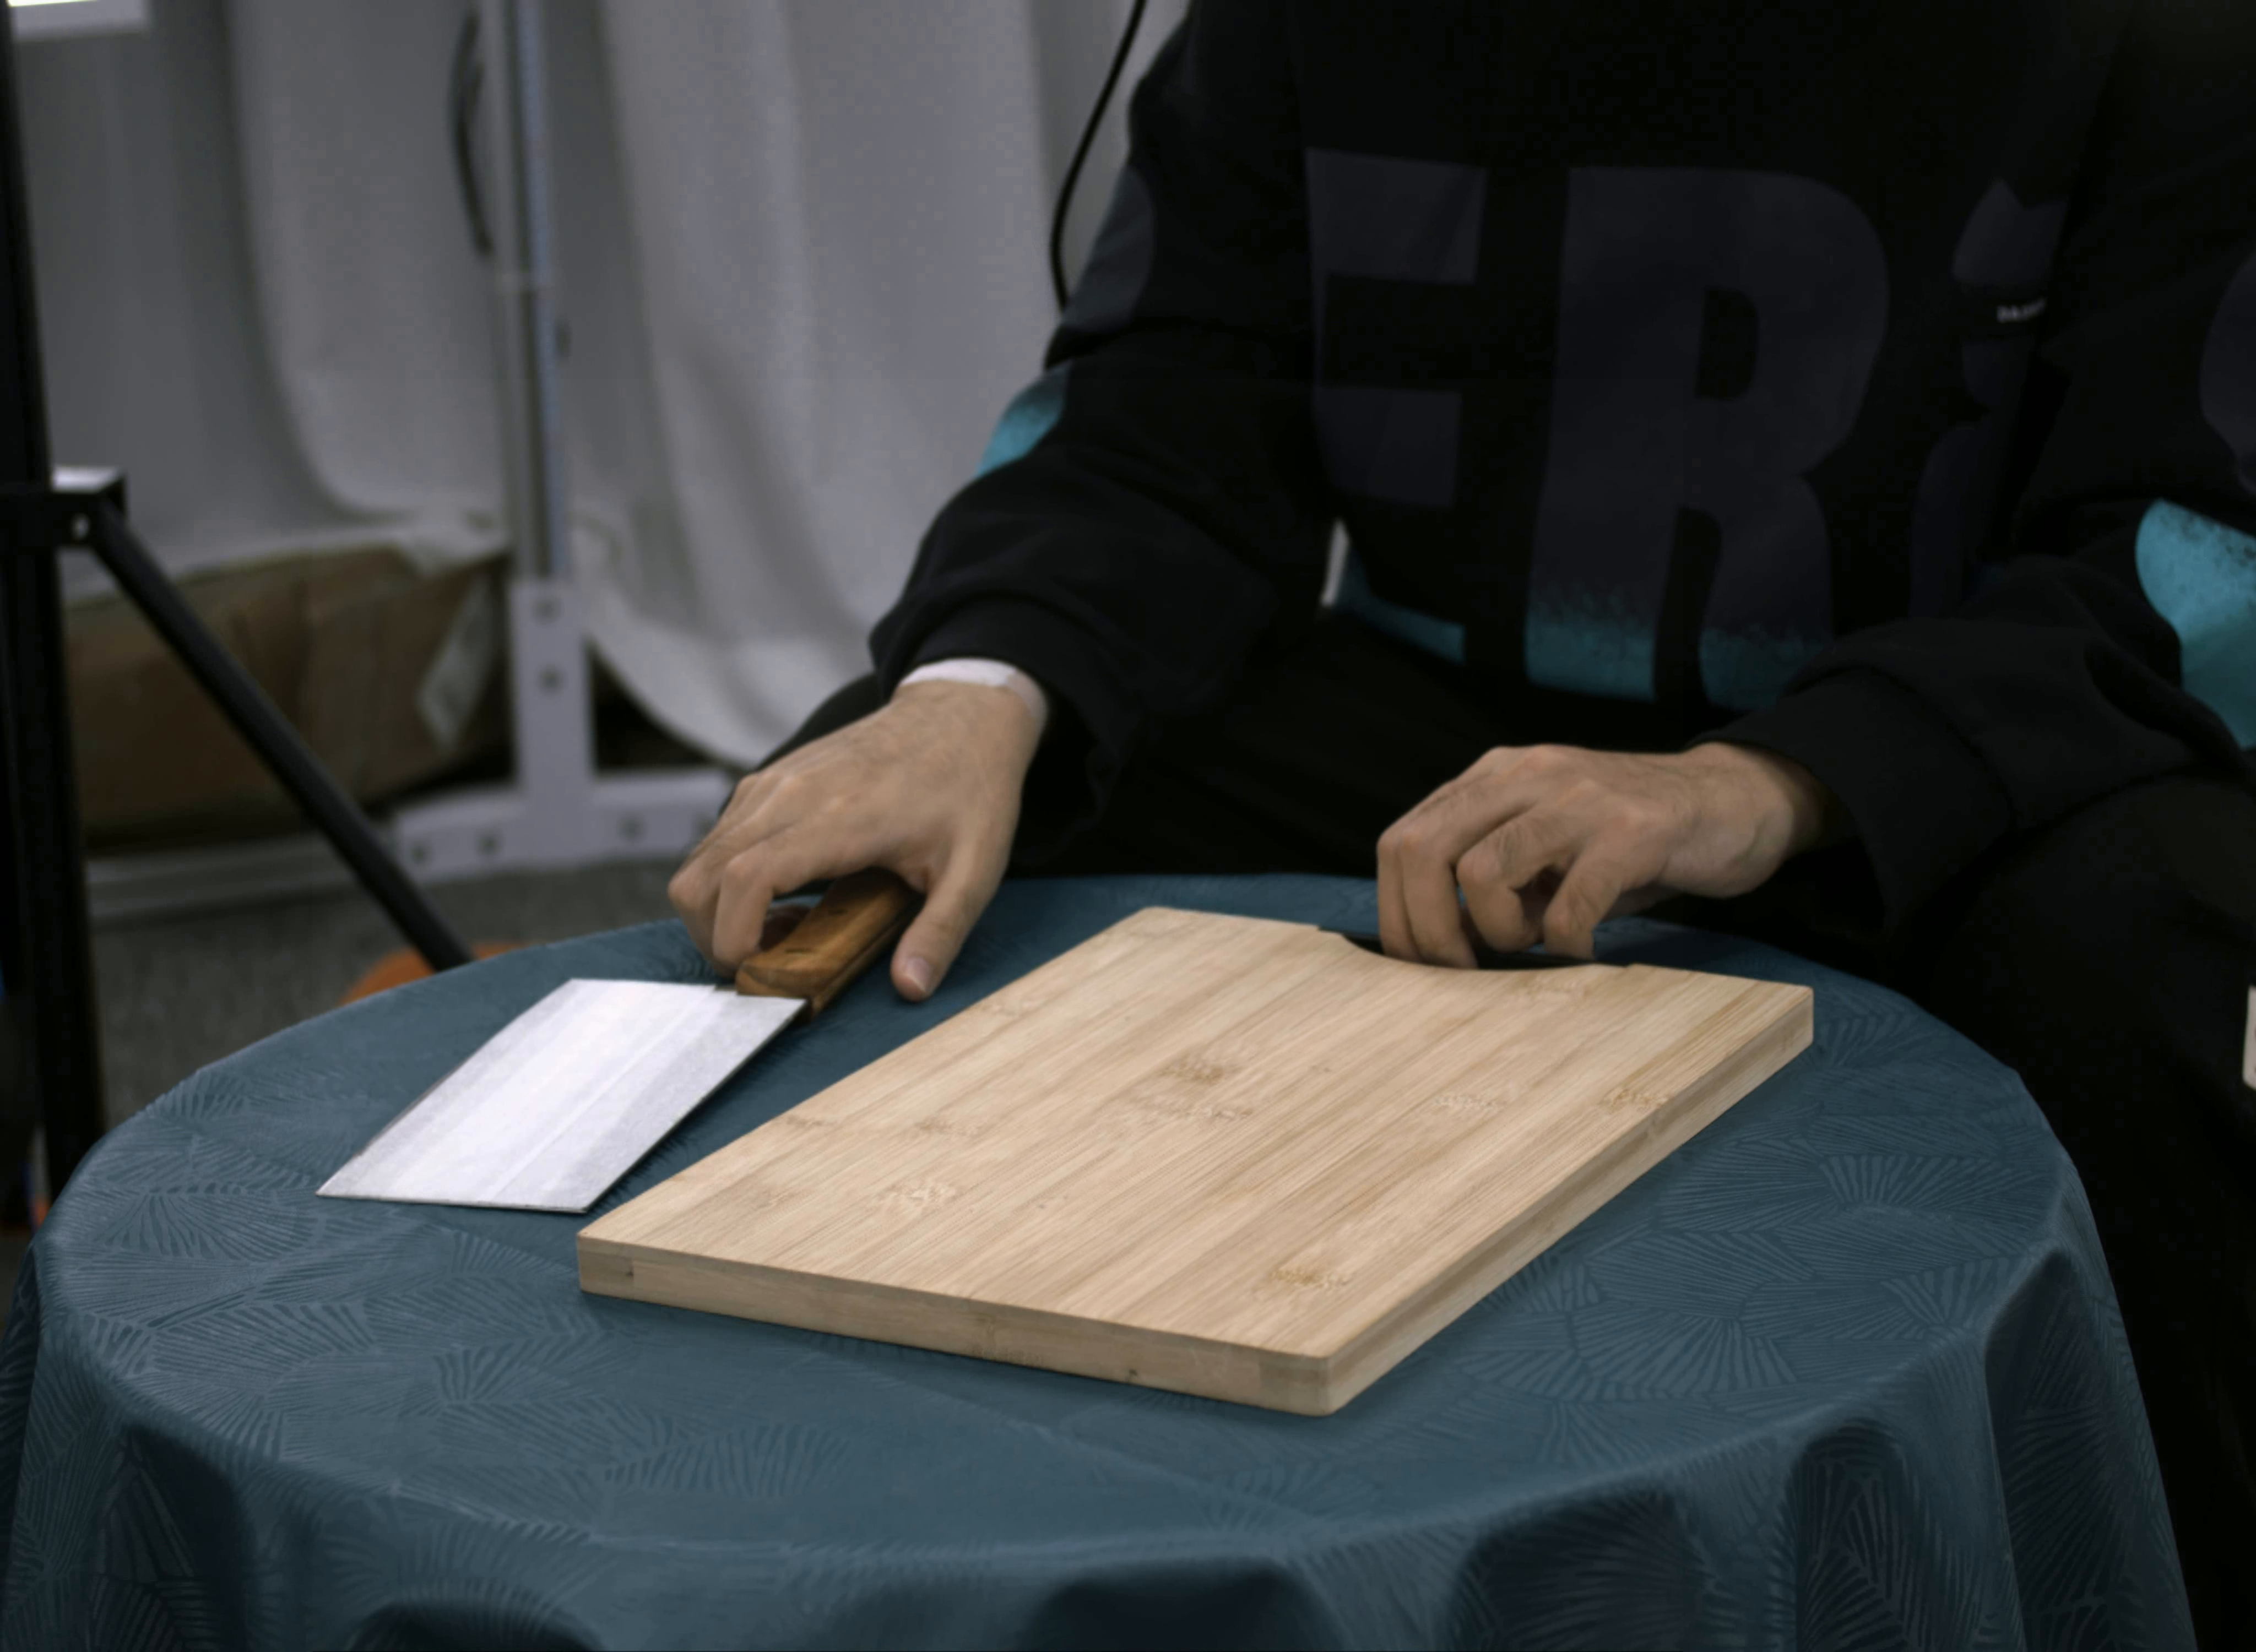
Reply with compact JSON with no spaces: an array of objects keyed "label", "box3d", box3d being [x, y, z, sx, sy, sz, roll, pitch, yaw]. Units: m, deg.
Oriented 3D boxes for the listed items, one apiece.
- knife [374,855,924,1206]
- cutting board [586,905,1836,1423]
[{"label":"knife","box3d":[-0.152,0.064,1.711,0.094,0.021,0.303,1,18,19]},{"label":"cutting board","box3d":[0.033,0.091,1.581,0.255,0.023,0.343,6,18,28]}]
